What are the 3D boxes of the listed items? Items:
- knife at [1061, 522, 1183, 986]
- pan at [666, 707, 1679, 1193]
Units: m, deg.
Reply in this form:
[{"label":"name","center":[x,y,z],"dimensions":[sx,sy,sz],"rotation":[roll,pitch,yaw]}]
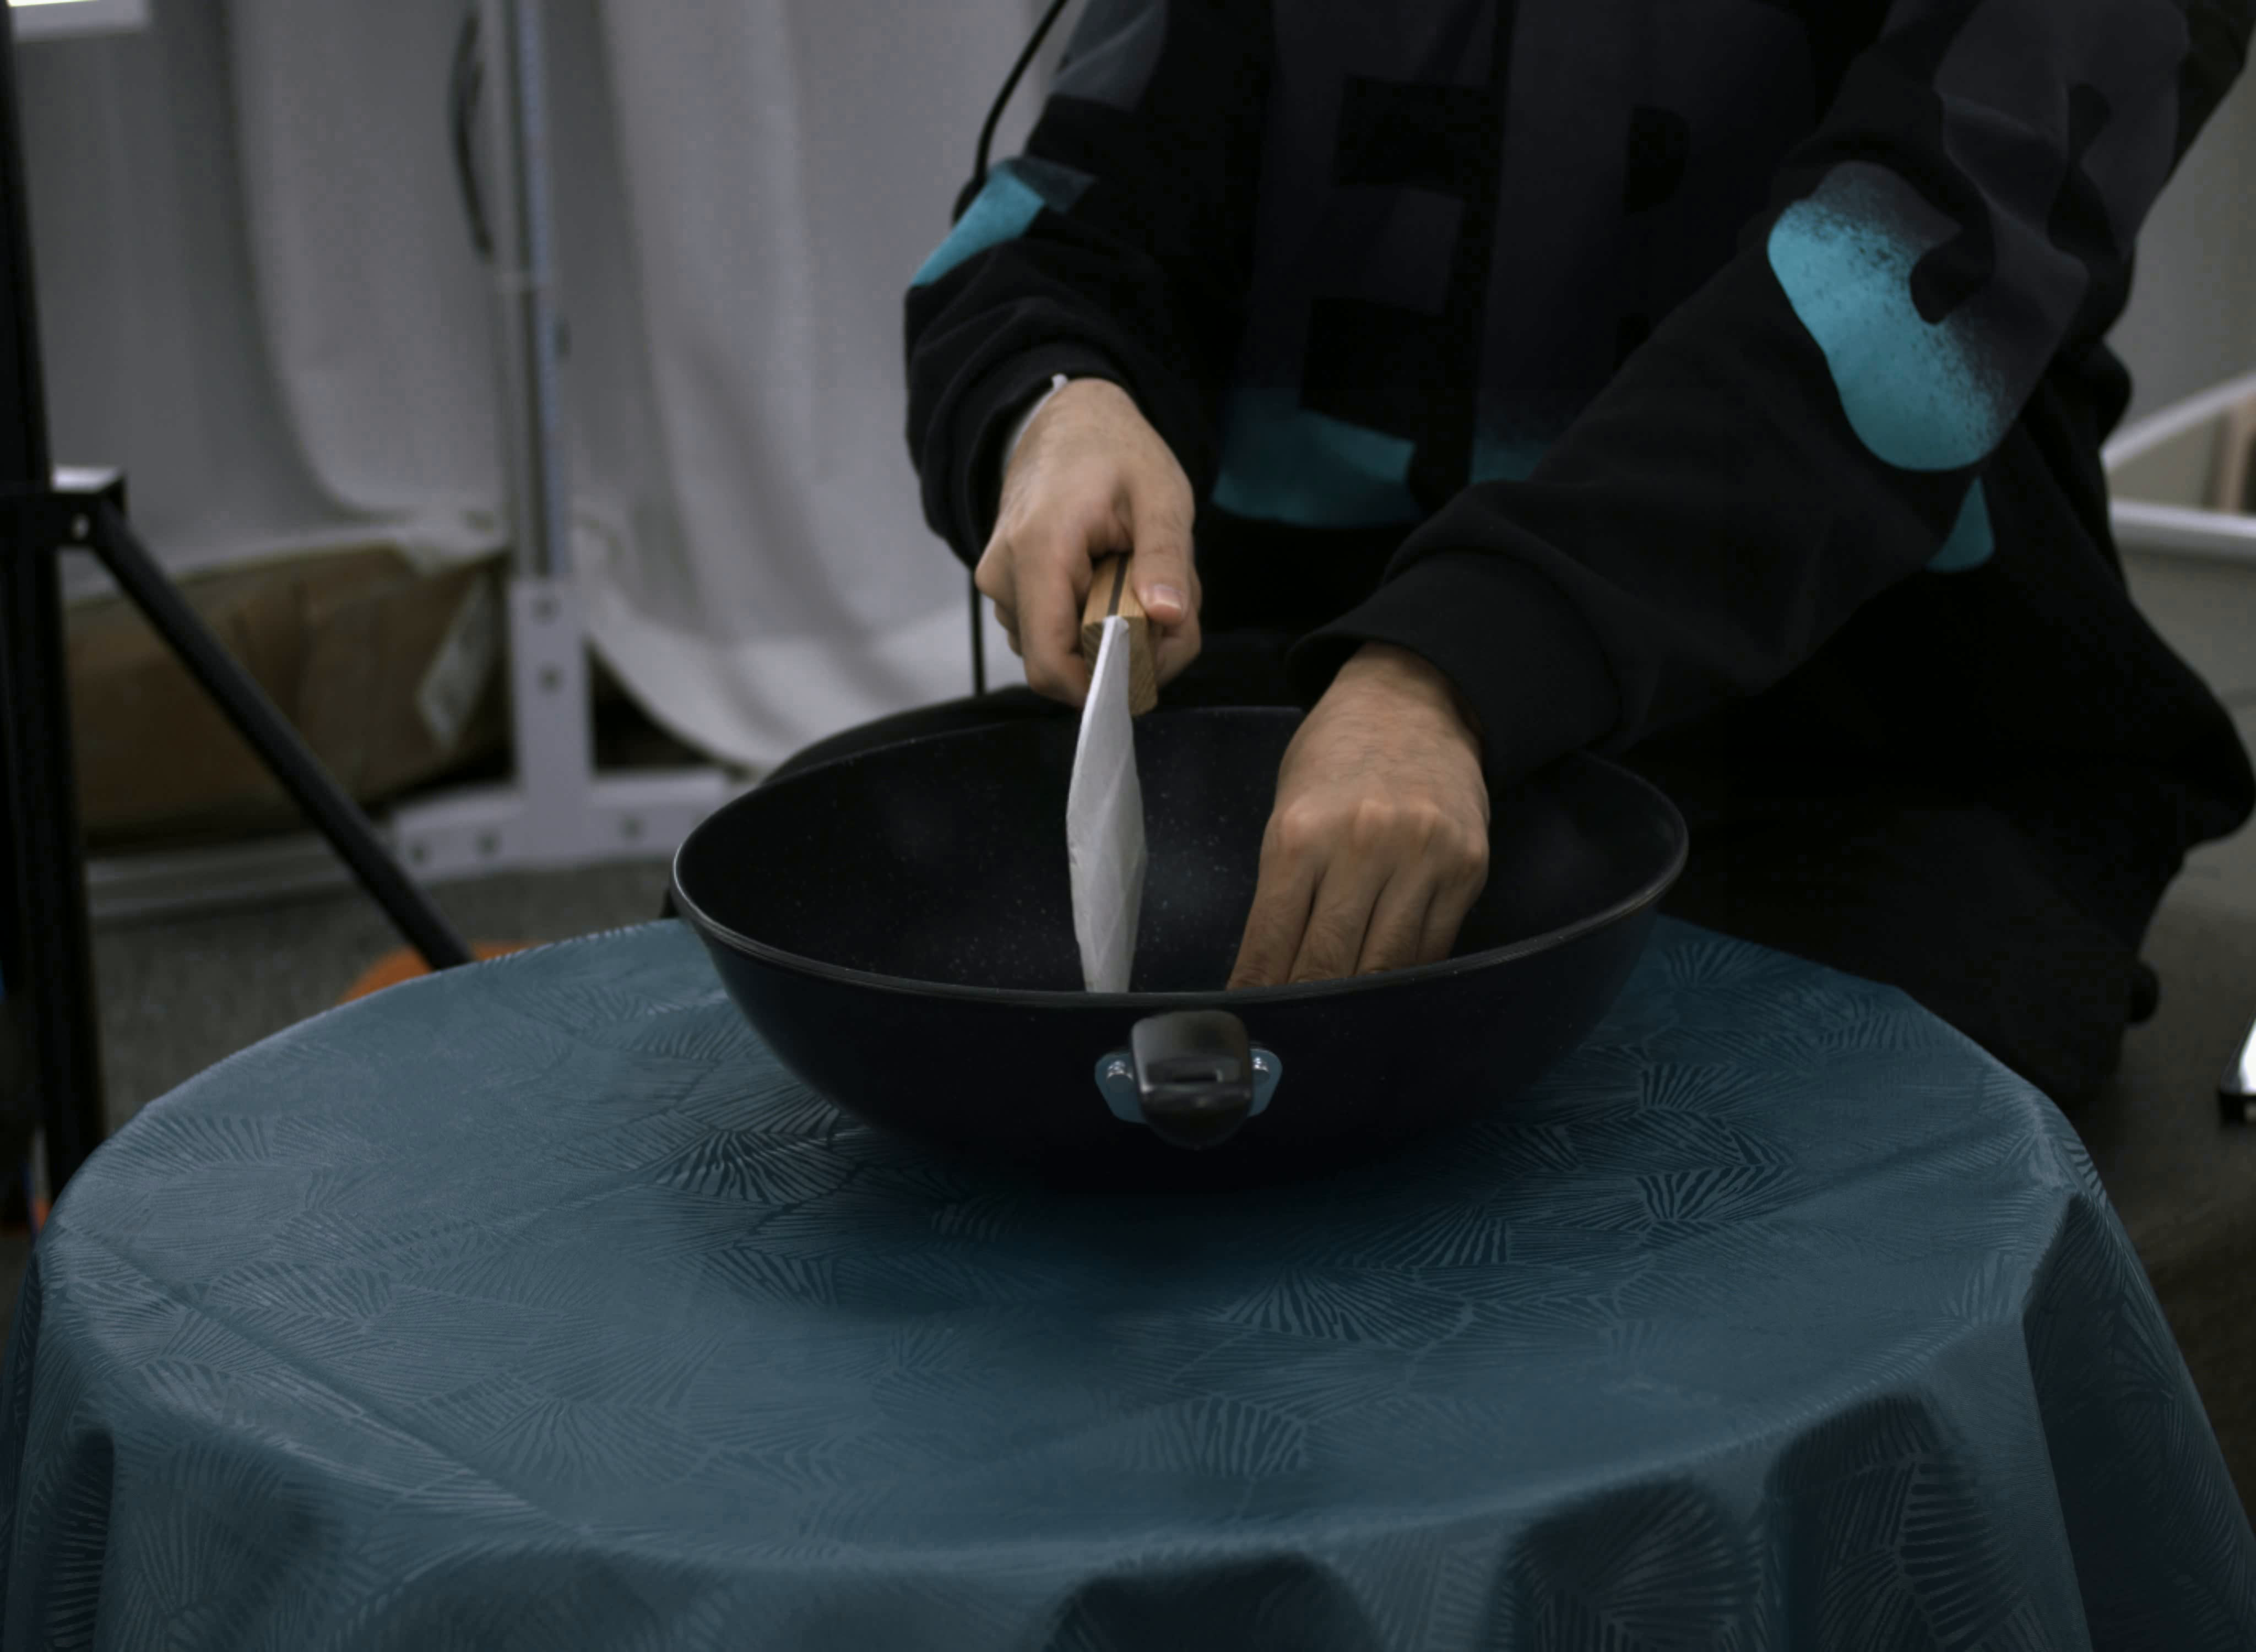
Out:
[{"label":"knife","center":[-0.003,-0.027,1.658],"dimensions":[0.022,0.113,0.316],"rotation":[-4,24,6]},{"label":"pan","center":[0.016,0.056,1.545],"dimensions":[0.309,0.111,0.479],"rotation":[-4,16,1]}]
